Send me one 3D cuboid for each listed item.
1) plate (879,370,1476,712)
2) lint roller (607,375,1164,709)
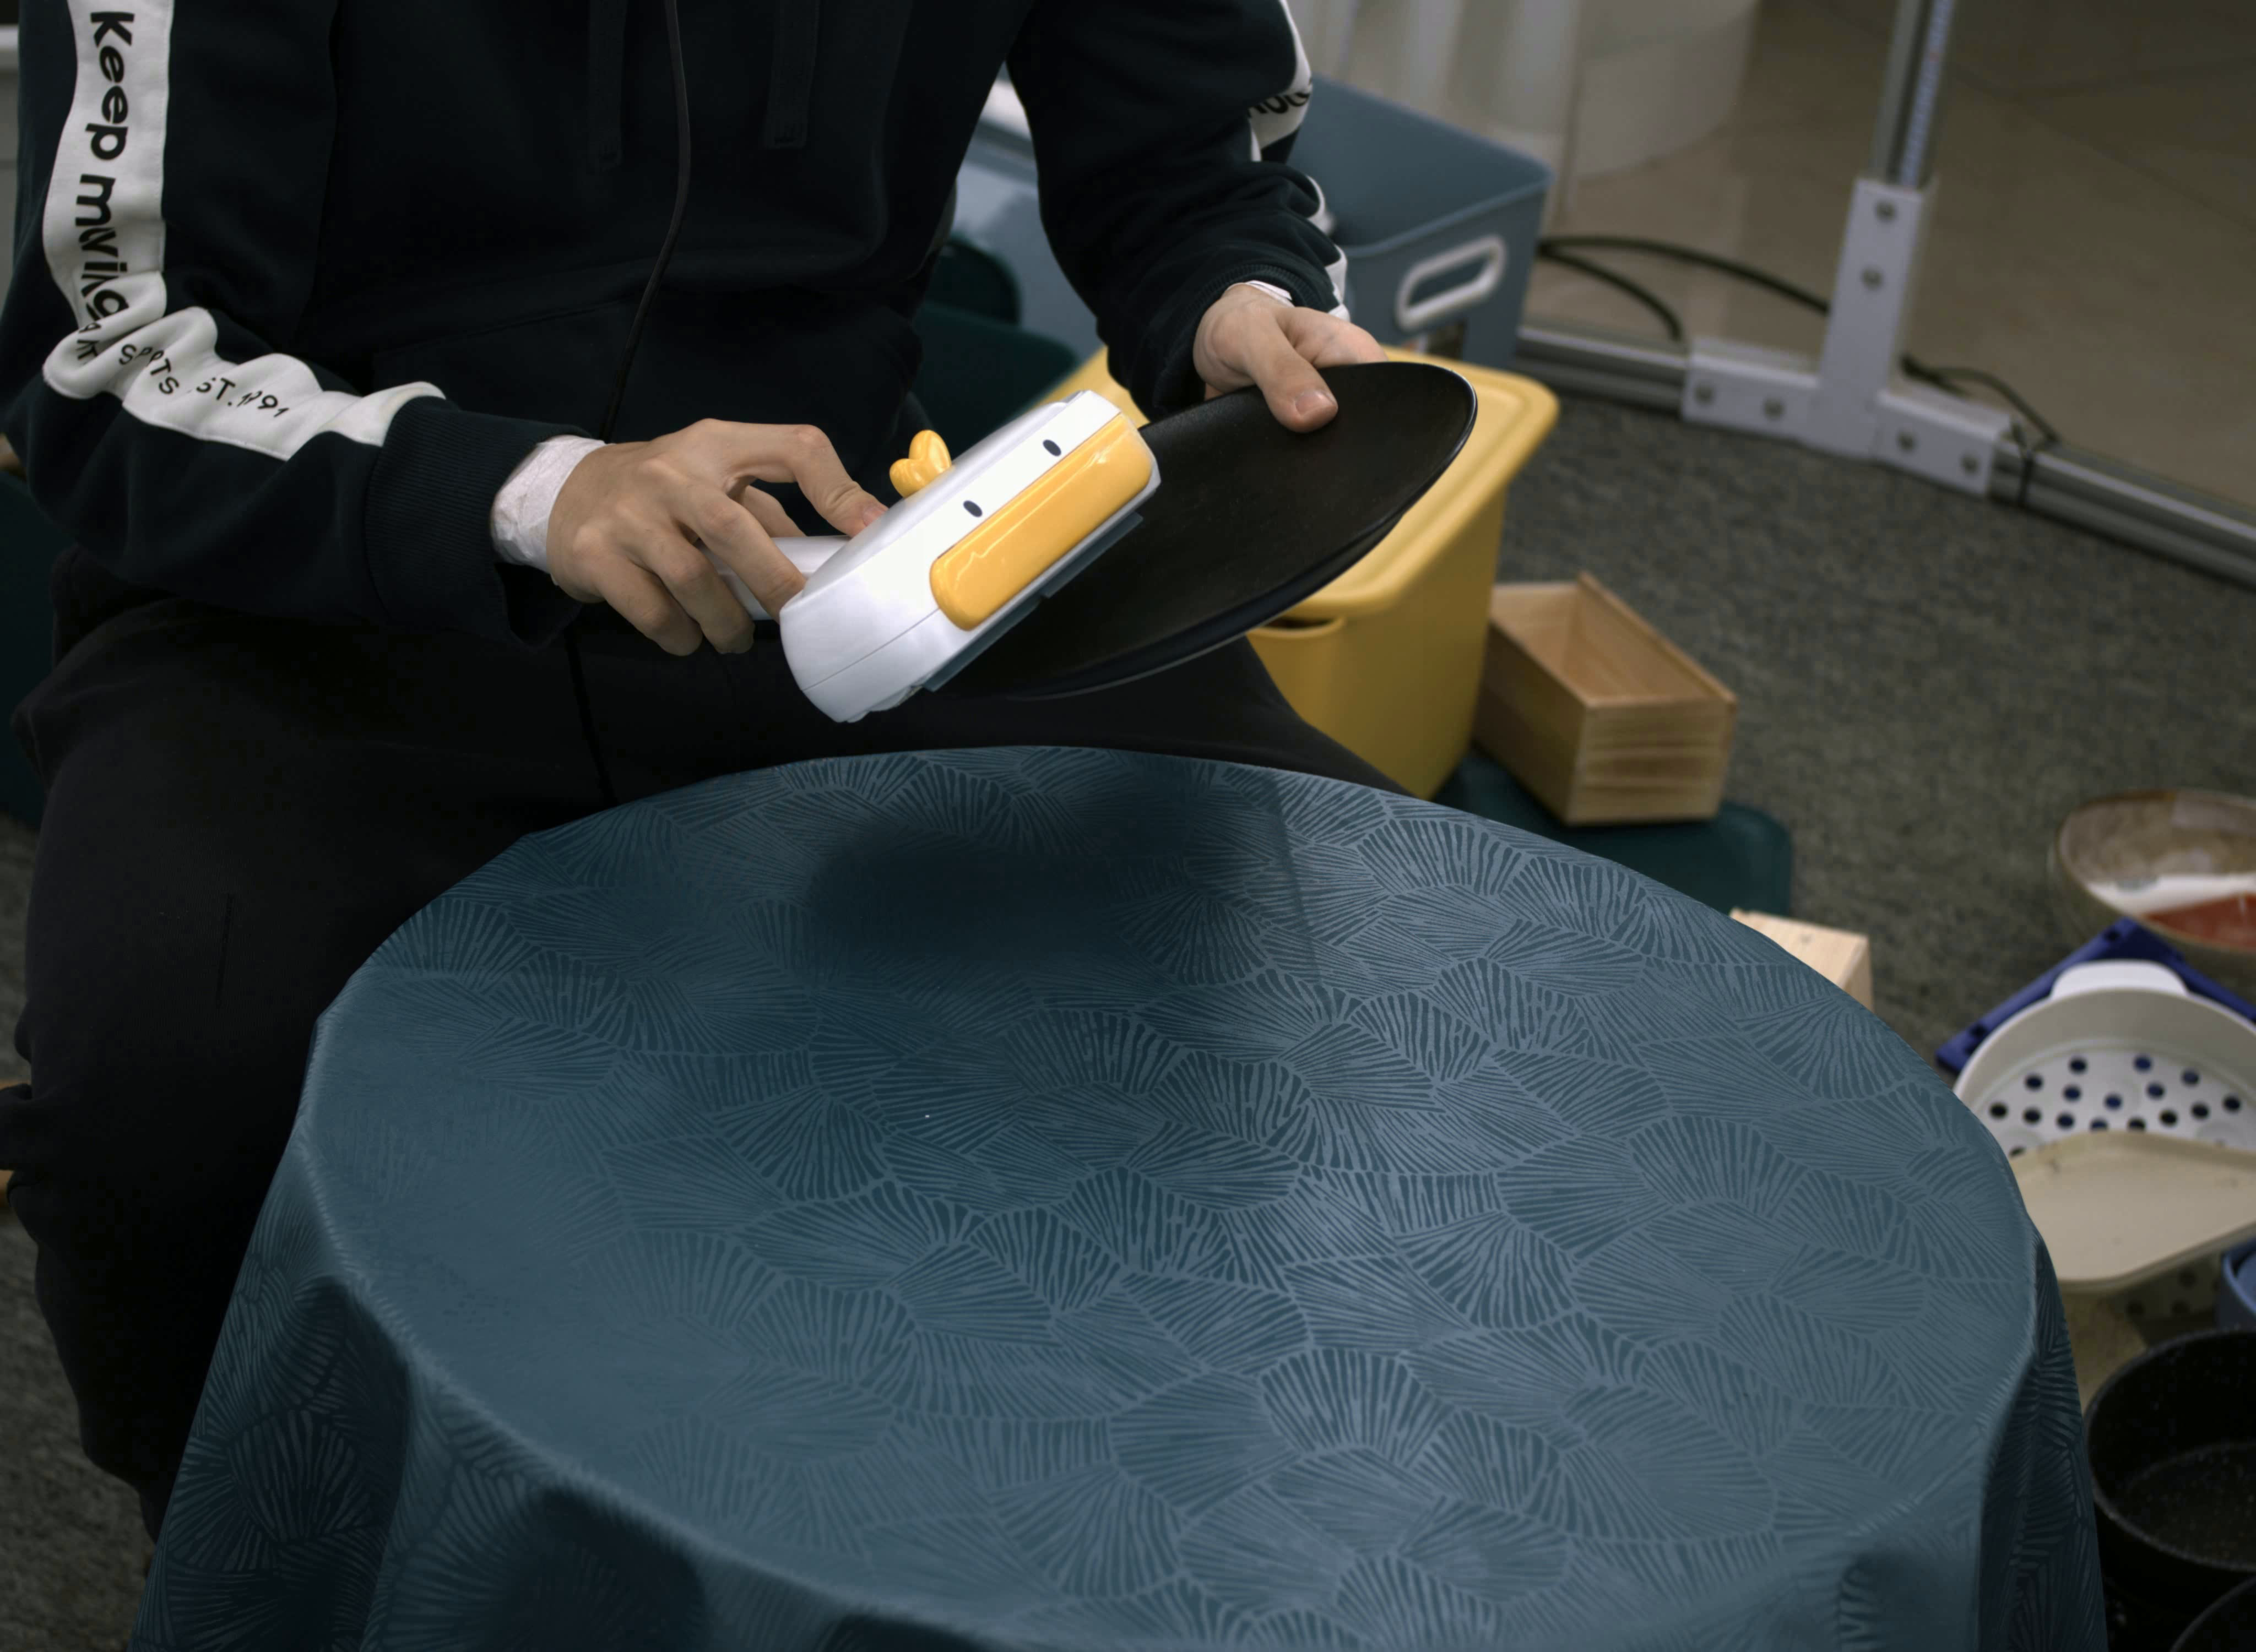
[{"bbox_3d":[0.018,-0.098,1.933,0.244,0.023,0.245,-23,20,8],"label":"plate"},{"bbox_3d":[-0.101,-0.090,1.908,0.193,0.074,0.193,-19,19,33],"label":"lint roller"}]
